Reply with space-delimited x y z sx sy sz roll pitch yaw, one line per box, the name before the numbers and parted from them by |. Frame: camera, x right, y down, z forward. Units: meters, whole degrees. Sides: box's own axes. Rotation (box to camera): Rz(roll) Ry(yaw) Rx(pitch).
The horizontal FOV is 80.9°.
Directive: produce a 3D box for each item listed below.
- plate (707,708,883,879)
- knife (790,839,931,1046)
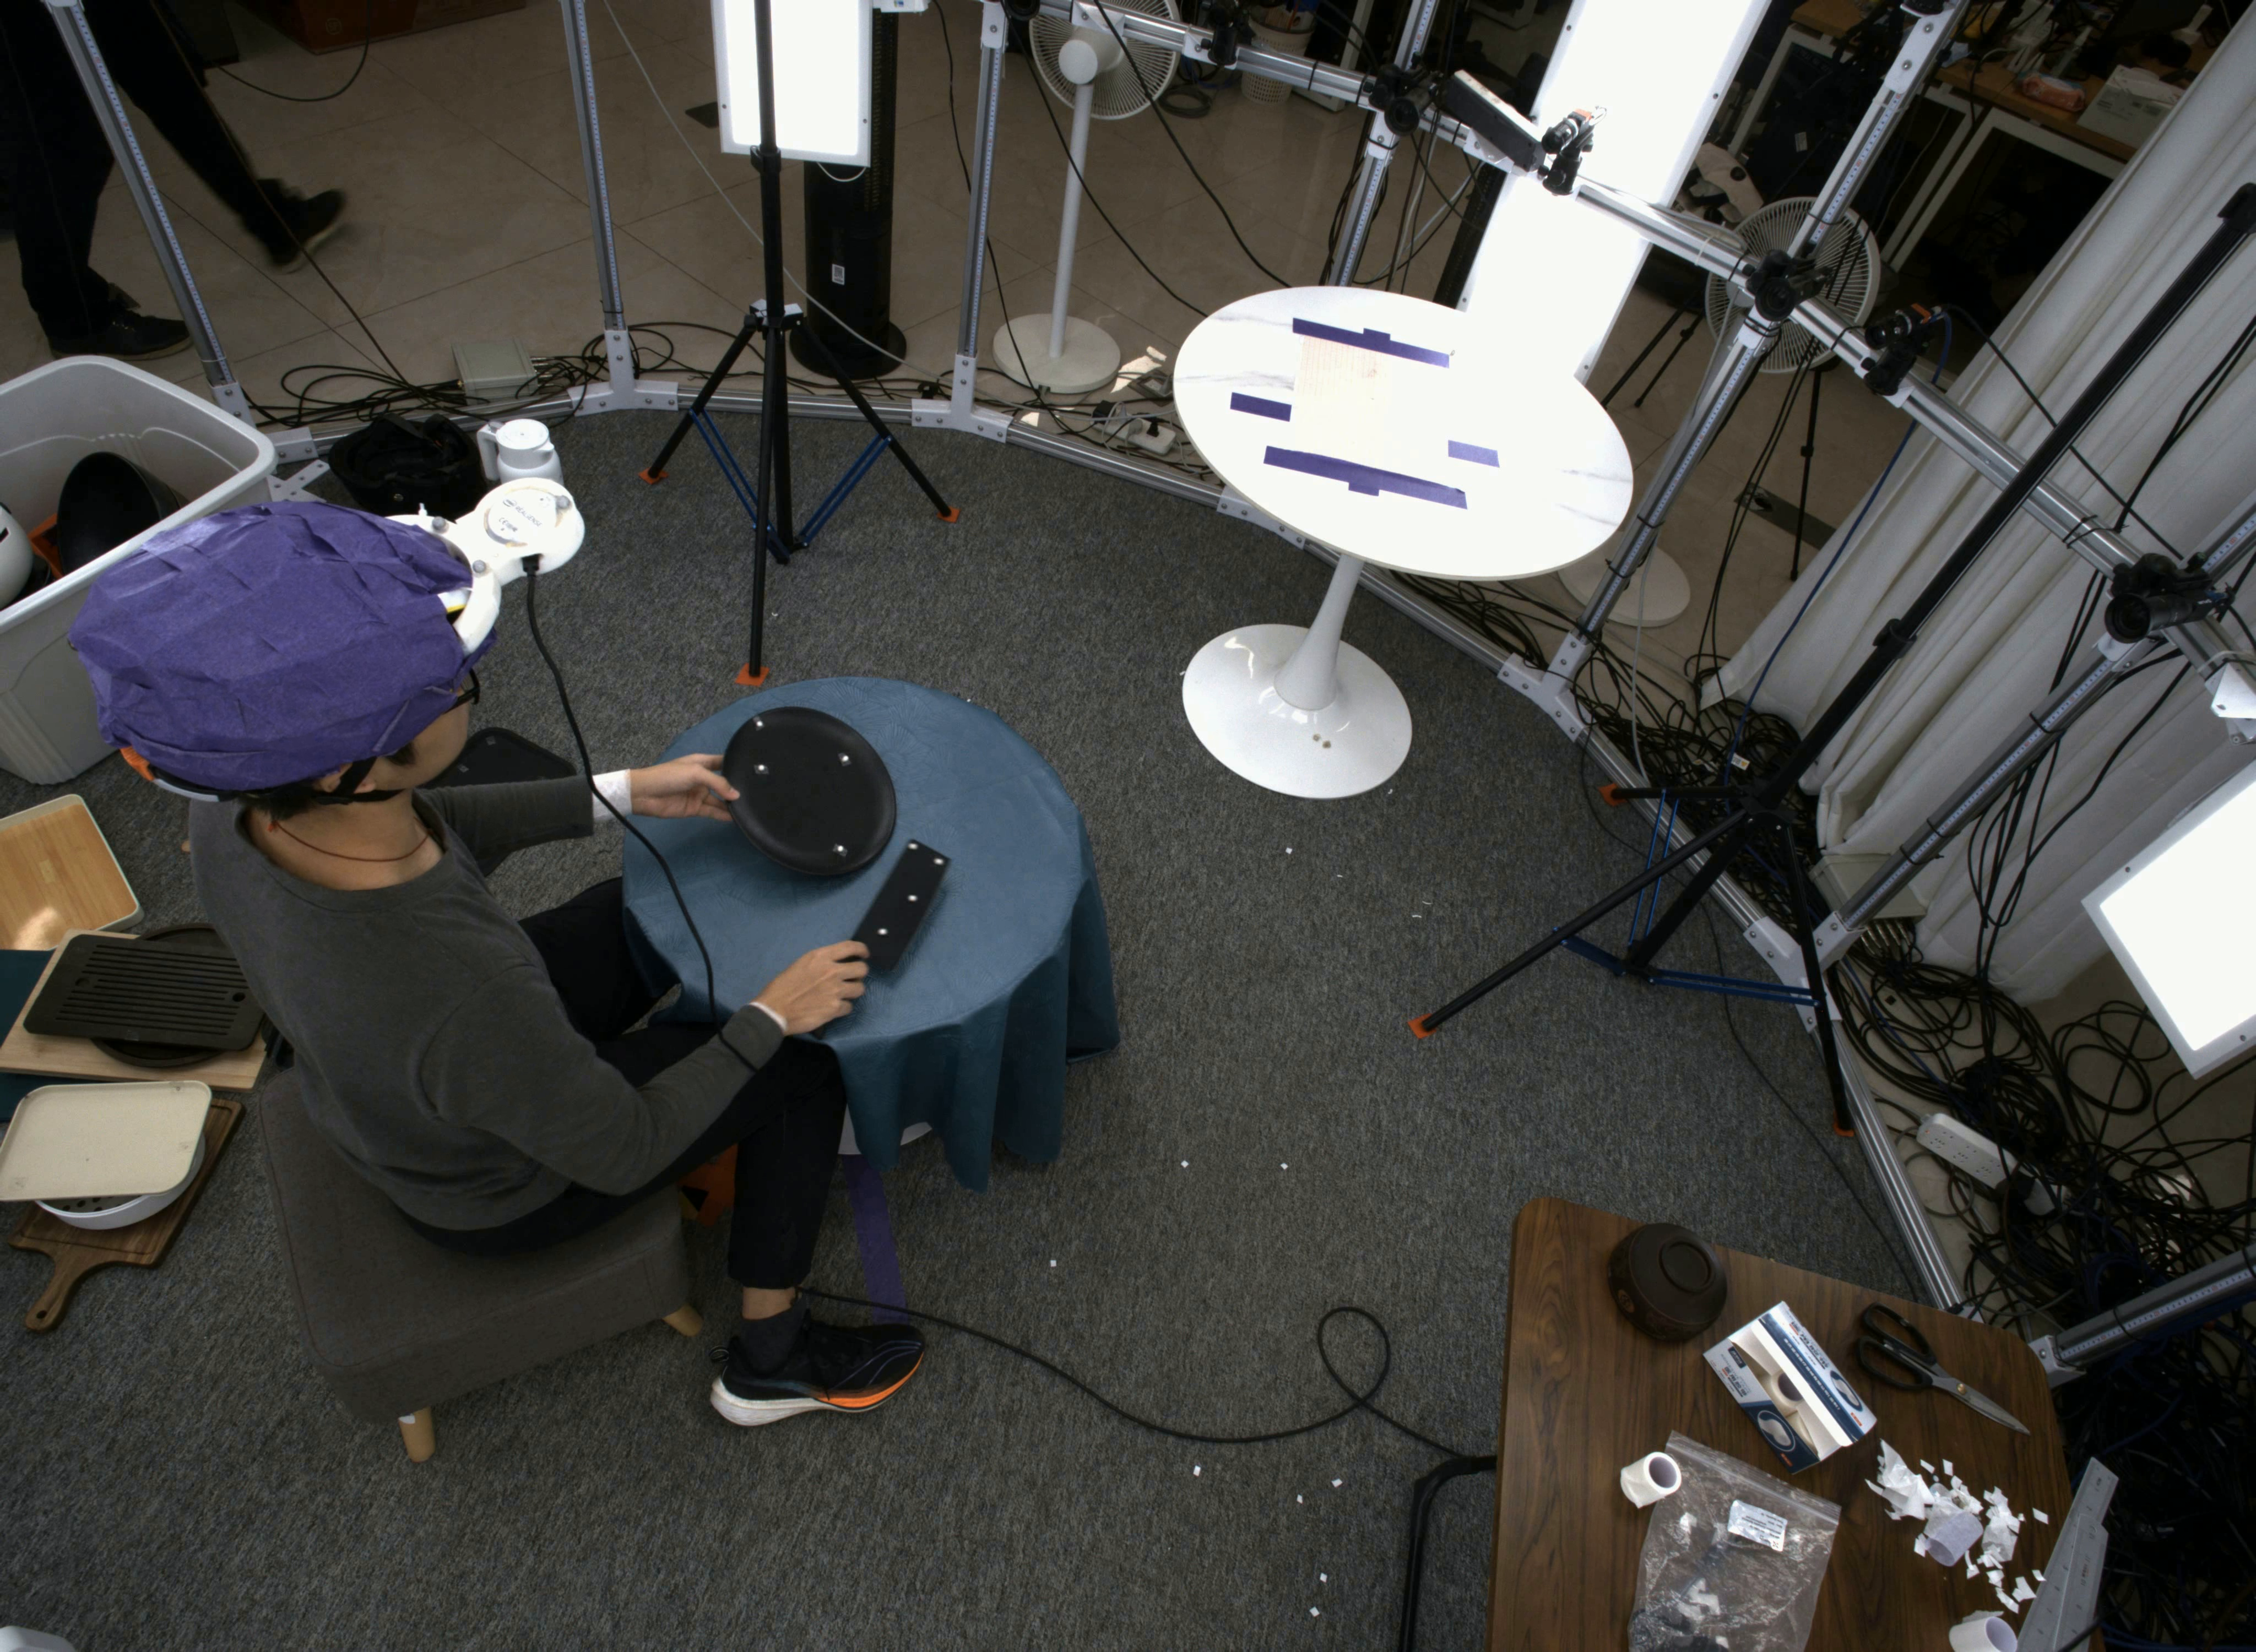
plate | -0.437 -0.042 1.698 0.250 0.023 0.241 22 54 -31
knife | -0.332 0.140 1.612 0.081 0.021 0.300 31 56 -5
